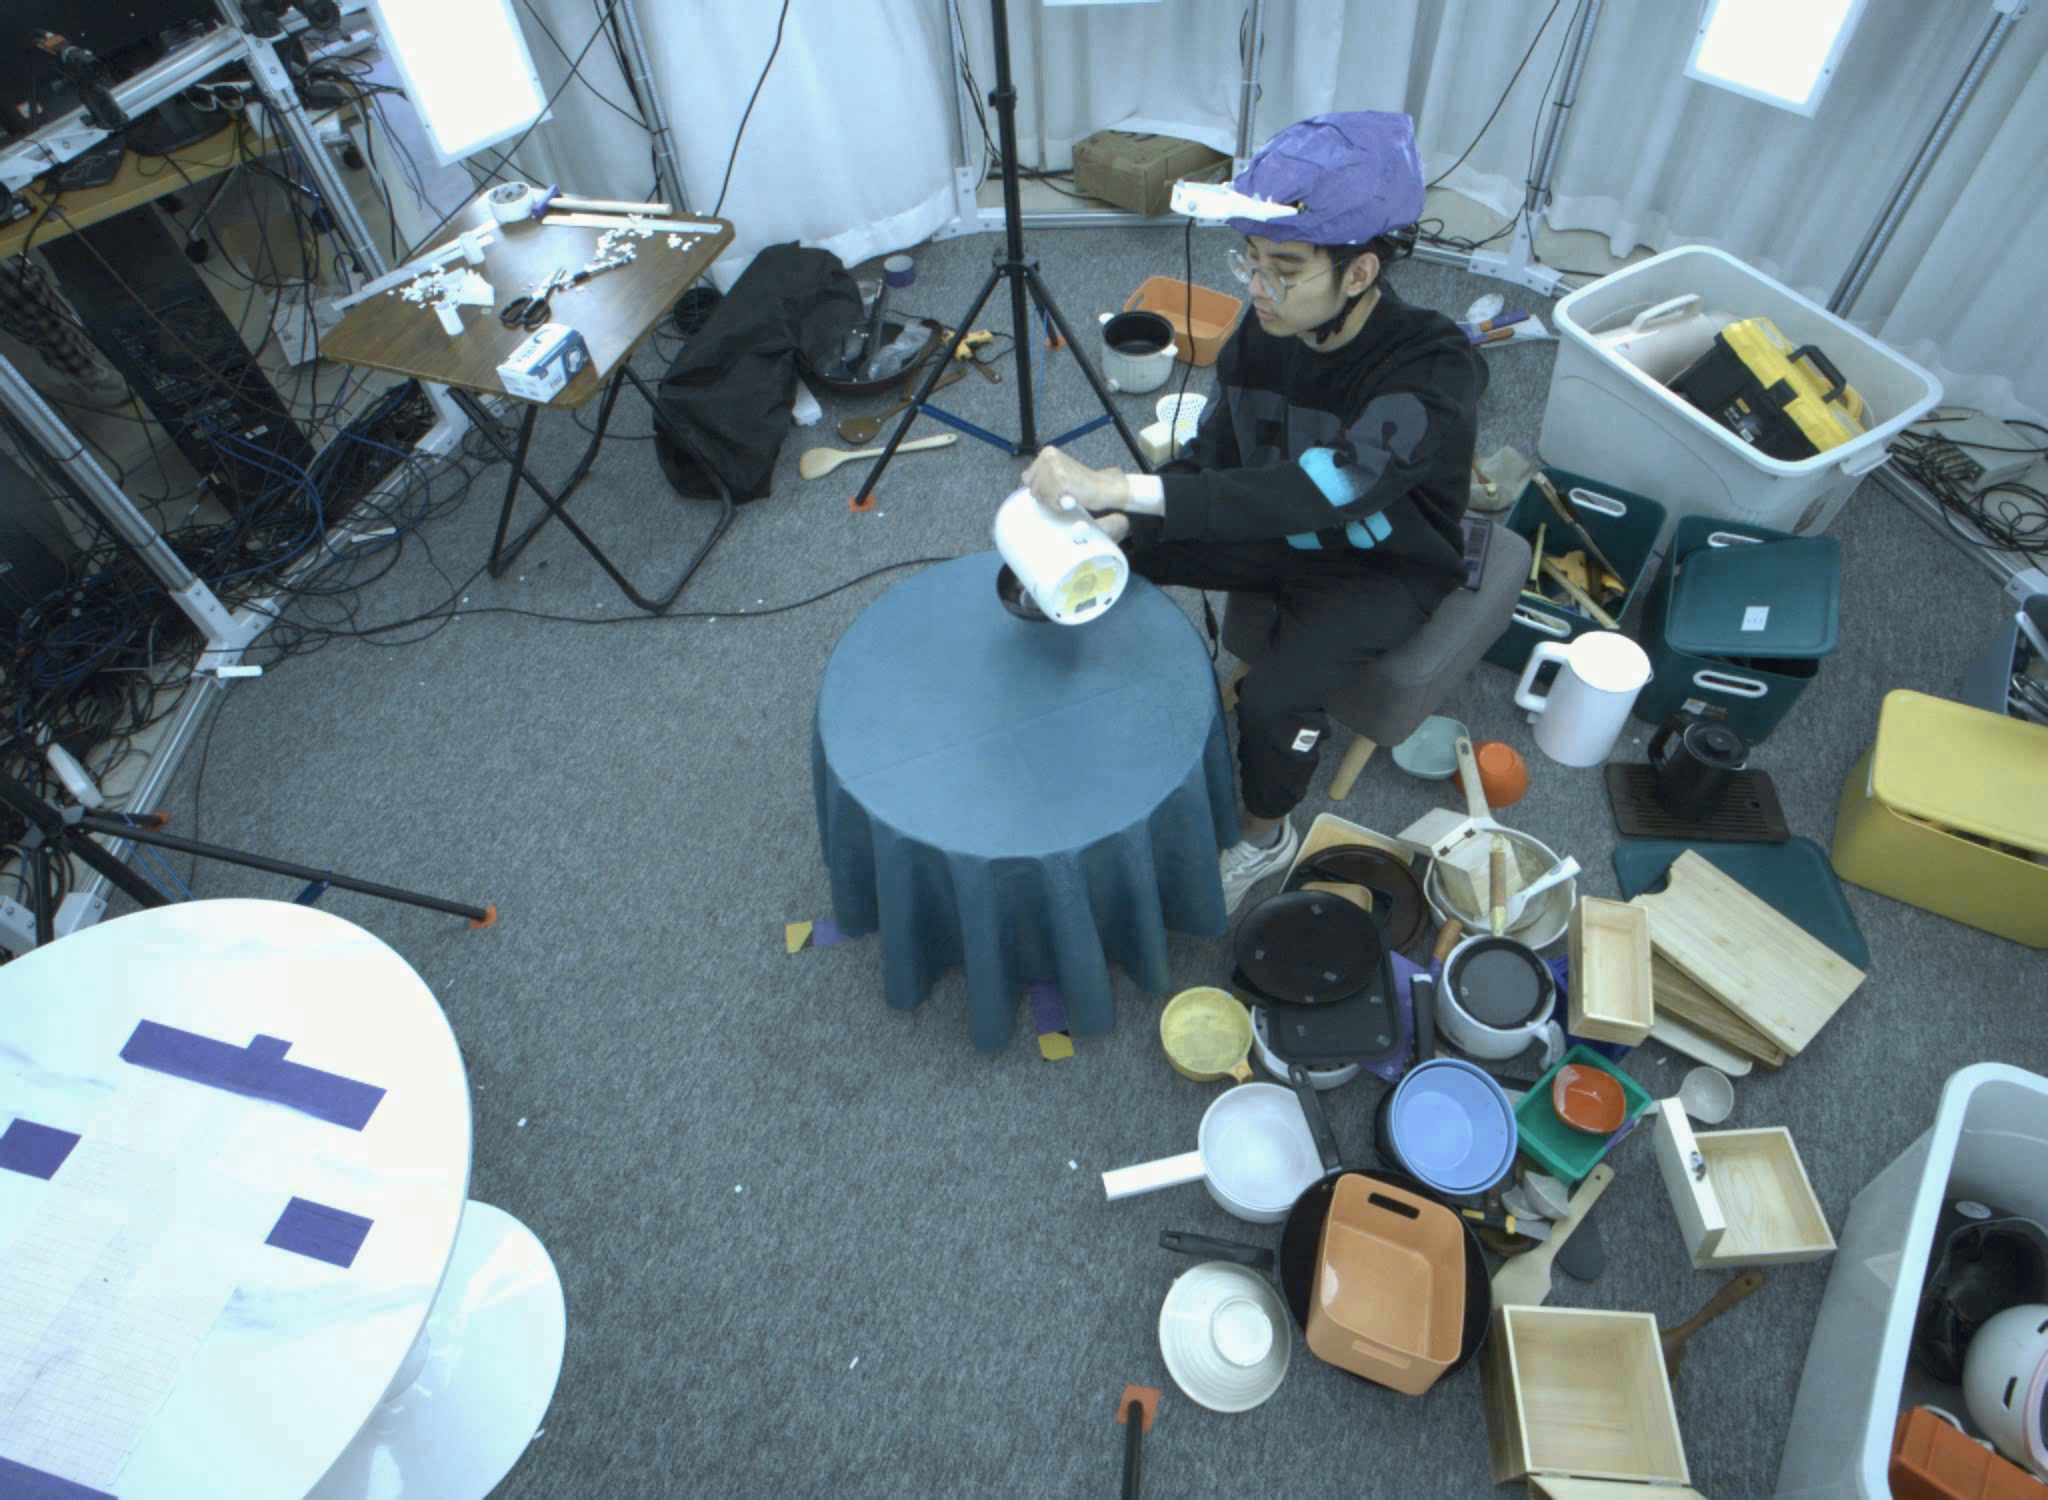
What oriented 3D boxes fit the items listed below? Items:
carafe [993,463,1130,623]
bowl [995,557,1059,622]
[{"bbox_3d":[0.047,-0.288,1.649,0.133,0.193,0.179,-23,55,-19],"label":"carafe"},{"bbox_3d":[0.027,-0.242,1.855,0.140,0.050,0.138,-1,58,3],"label":"bowl"}]
